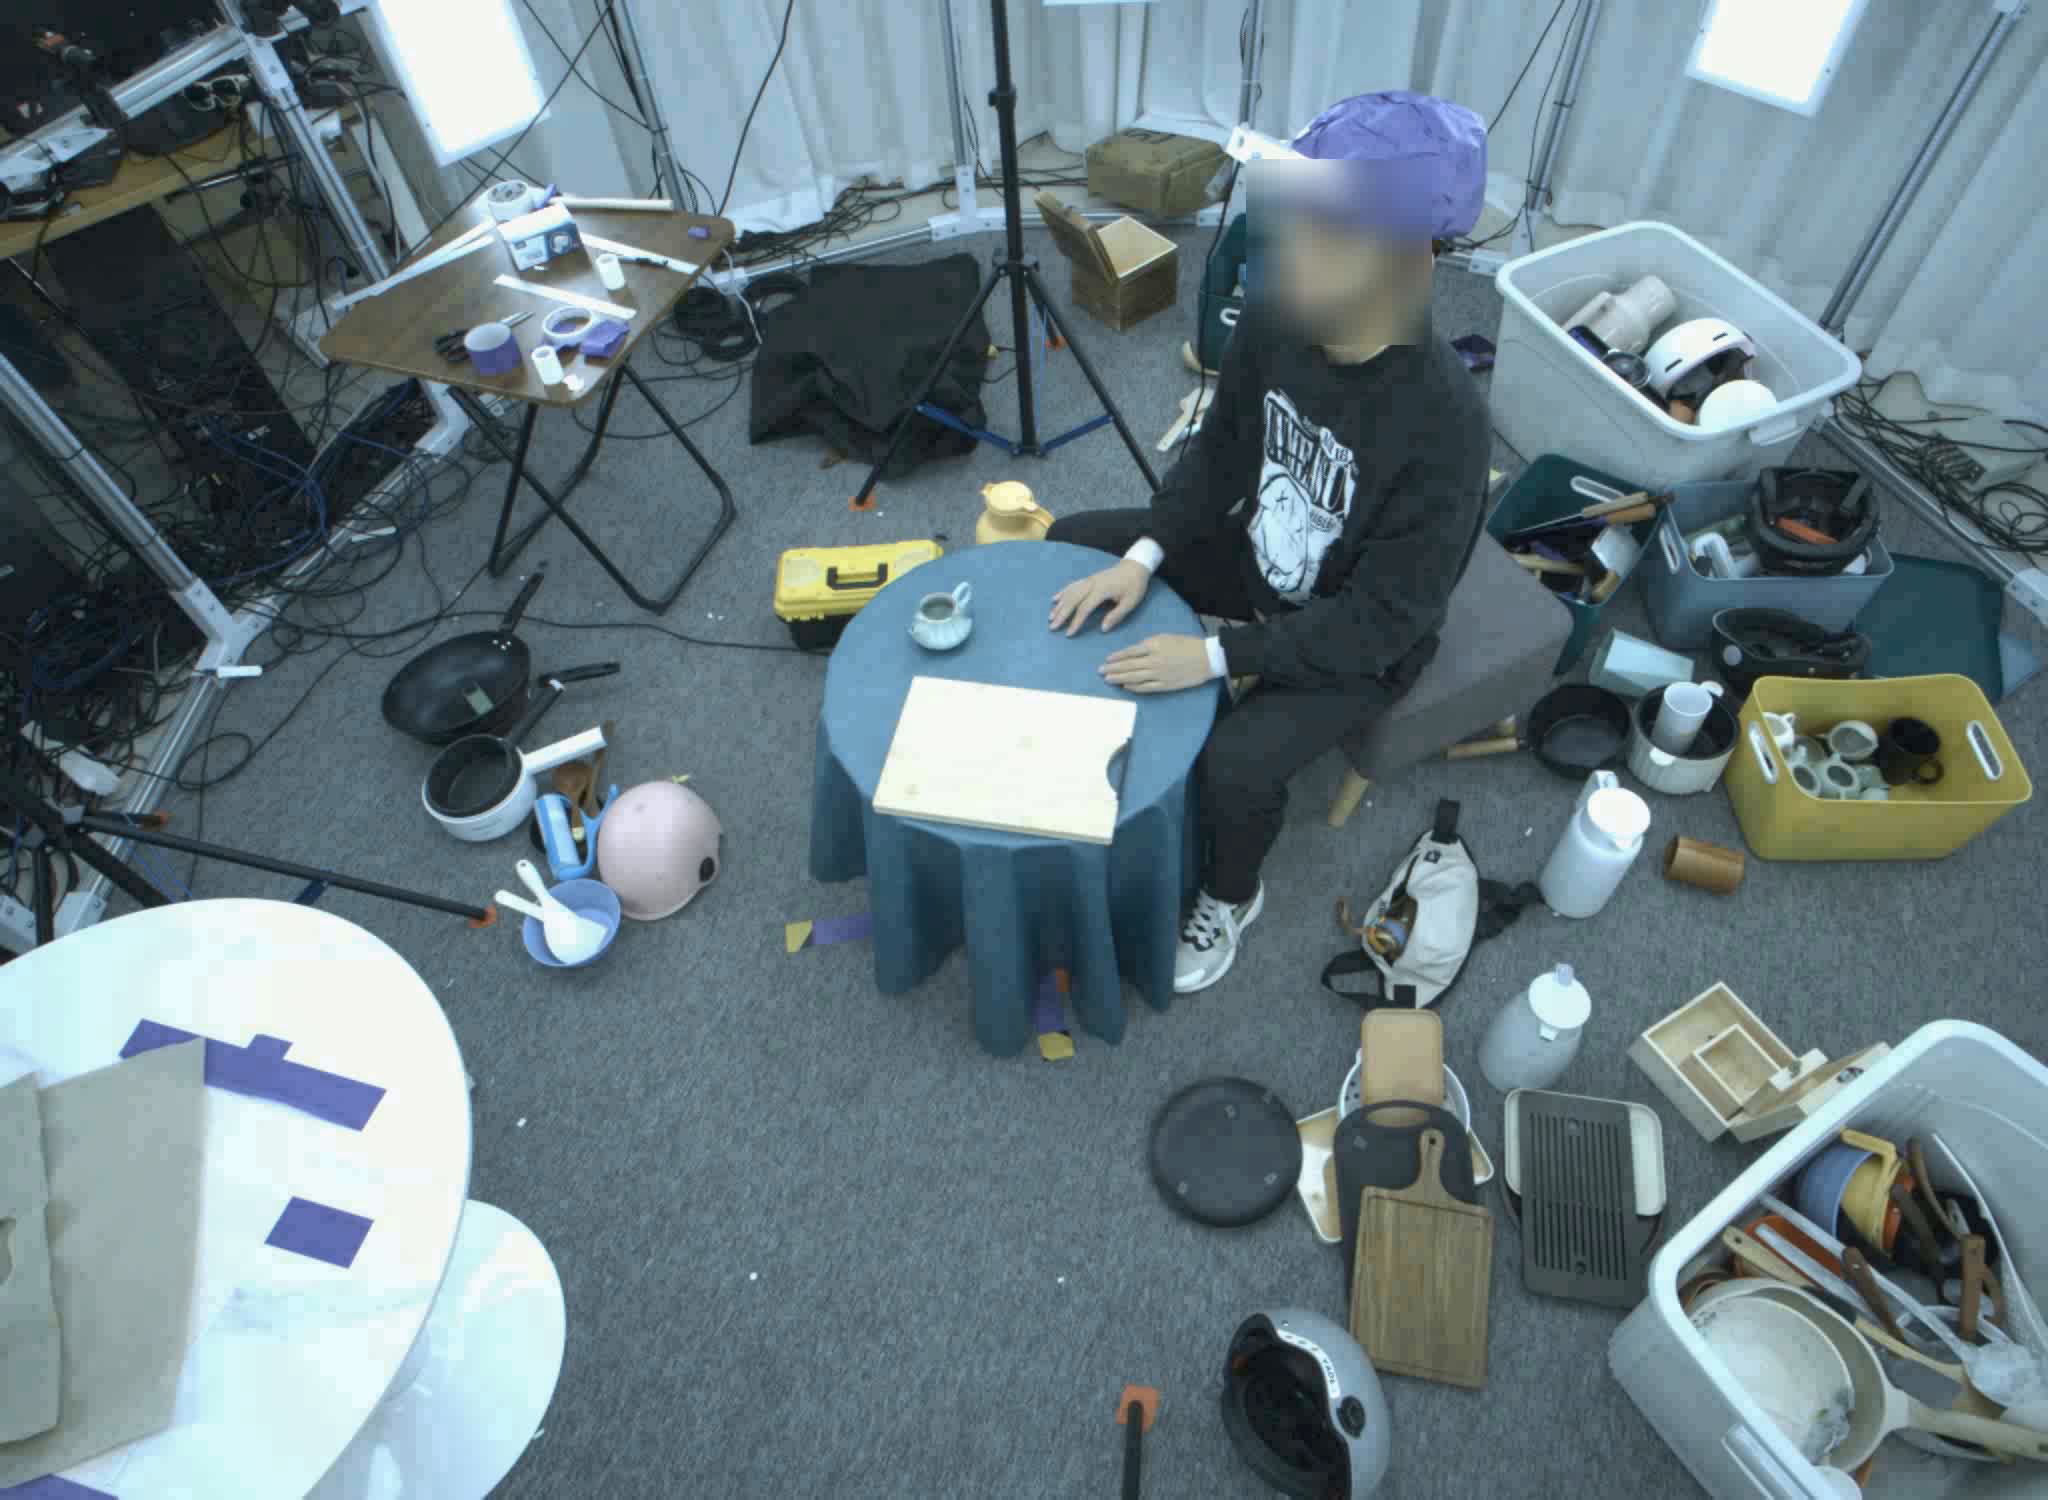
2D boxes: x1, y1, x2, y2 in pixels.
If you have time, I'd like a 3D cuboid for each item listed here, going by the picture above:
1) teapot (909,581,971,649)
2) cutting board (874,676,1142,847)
[{"bbox_3d":[-0.129,-0.206,1.897,0.094,0.062,0.137,30,61,23],"label":"teapot"},{"bbox_3d":[-0.019,0.010,1.767,0.347,0.024,0.249,7,55,7],"label":"cutting board"}]
